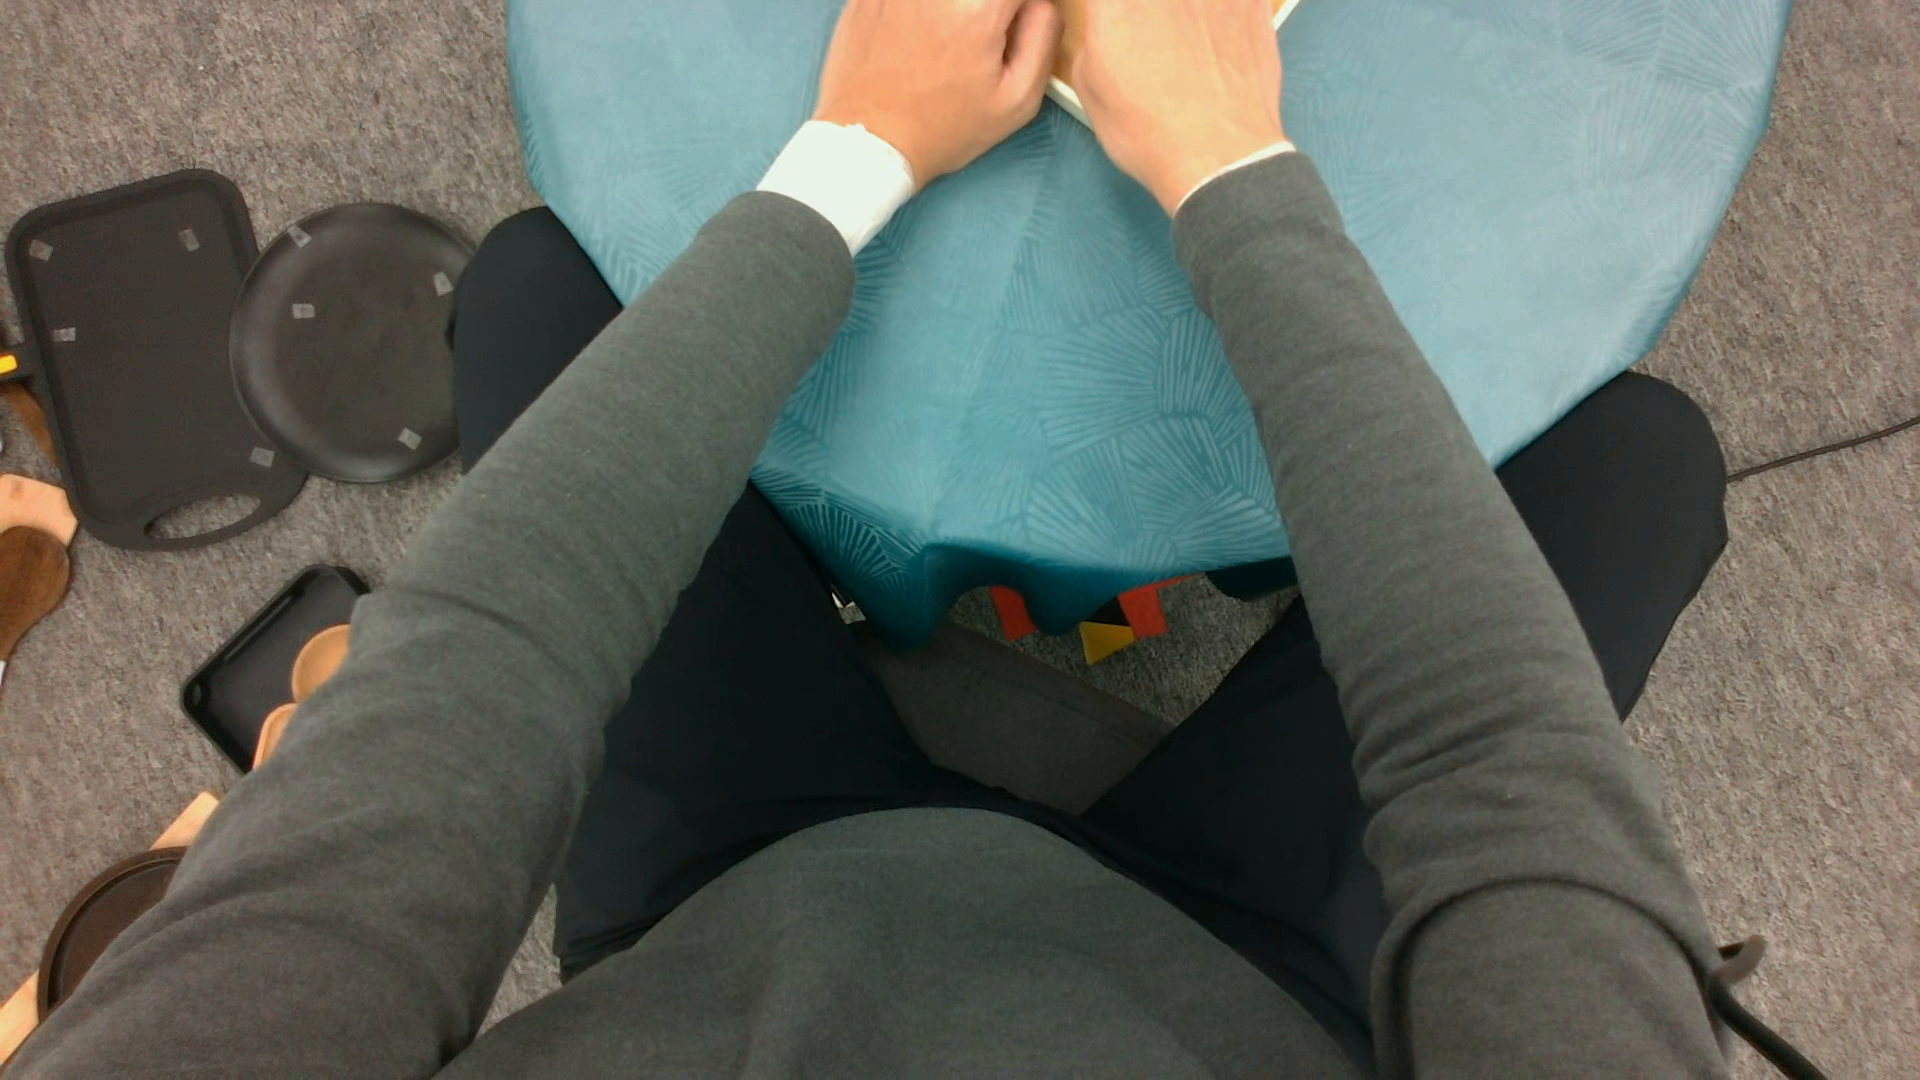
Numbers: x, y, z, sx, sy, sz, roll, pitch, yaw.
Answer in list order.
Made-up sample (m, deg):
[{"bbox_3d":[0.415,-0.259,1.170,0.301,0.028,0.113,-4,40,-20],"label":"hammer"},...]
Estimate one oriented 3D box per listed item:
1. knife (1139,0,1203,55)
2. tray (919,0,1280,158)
[{"bbox_3d":[0.036,-0.314,0.603,0.016,0.024,0.238,-34,88,5],"label":"knife"},{"bbox_3d":[0.026,-0.335,0.630,0.300,0.027,0.191,38,92,1],"label":"tray"}]
